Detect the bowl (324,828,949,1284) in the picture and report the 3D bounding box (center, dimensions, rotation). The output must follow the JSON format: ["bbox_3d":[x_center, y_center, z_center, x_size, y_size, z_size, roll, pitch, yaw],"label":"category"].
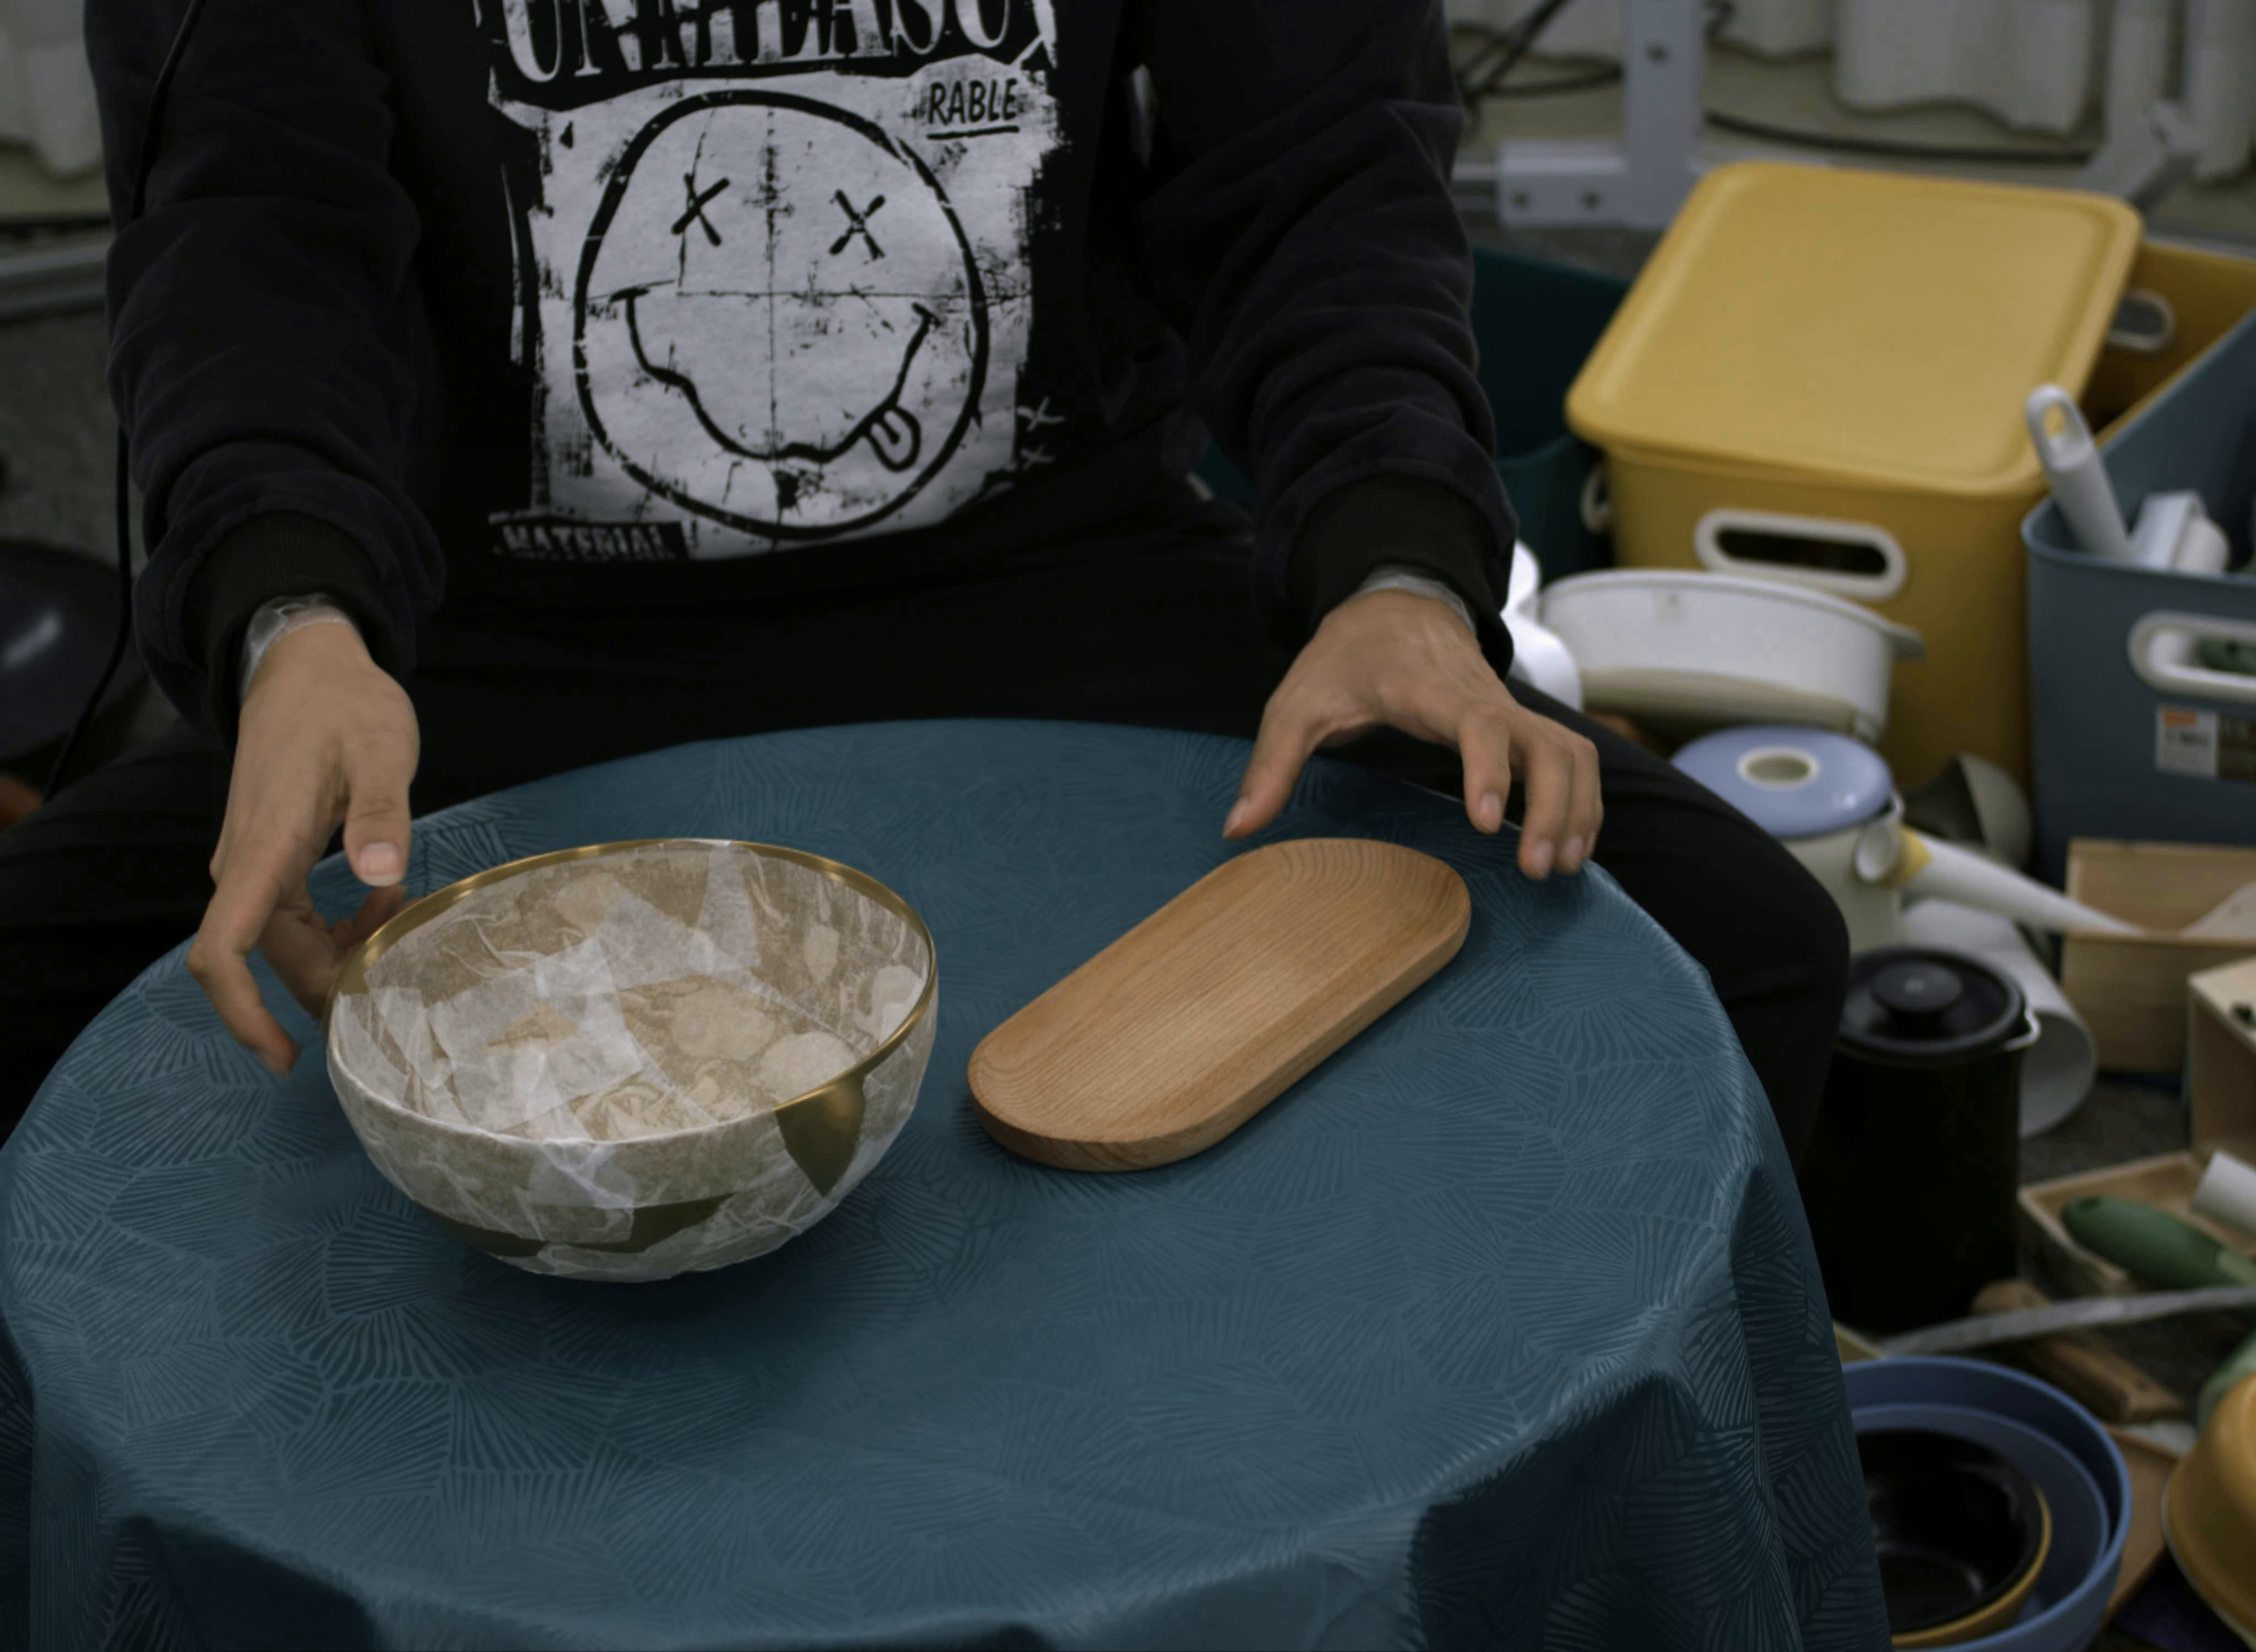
[{"bbox_3d":[-0.155,0.088,1.842,0.213,0.093,0.218,-3,27,2],"label":"bowl"}]

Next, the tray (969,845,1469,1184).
[{"bbox_3d":[0.034,0.064,1.954,0.101,0.020,0.235,13,33,33],"label":"tray"}]
